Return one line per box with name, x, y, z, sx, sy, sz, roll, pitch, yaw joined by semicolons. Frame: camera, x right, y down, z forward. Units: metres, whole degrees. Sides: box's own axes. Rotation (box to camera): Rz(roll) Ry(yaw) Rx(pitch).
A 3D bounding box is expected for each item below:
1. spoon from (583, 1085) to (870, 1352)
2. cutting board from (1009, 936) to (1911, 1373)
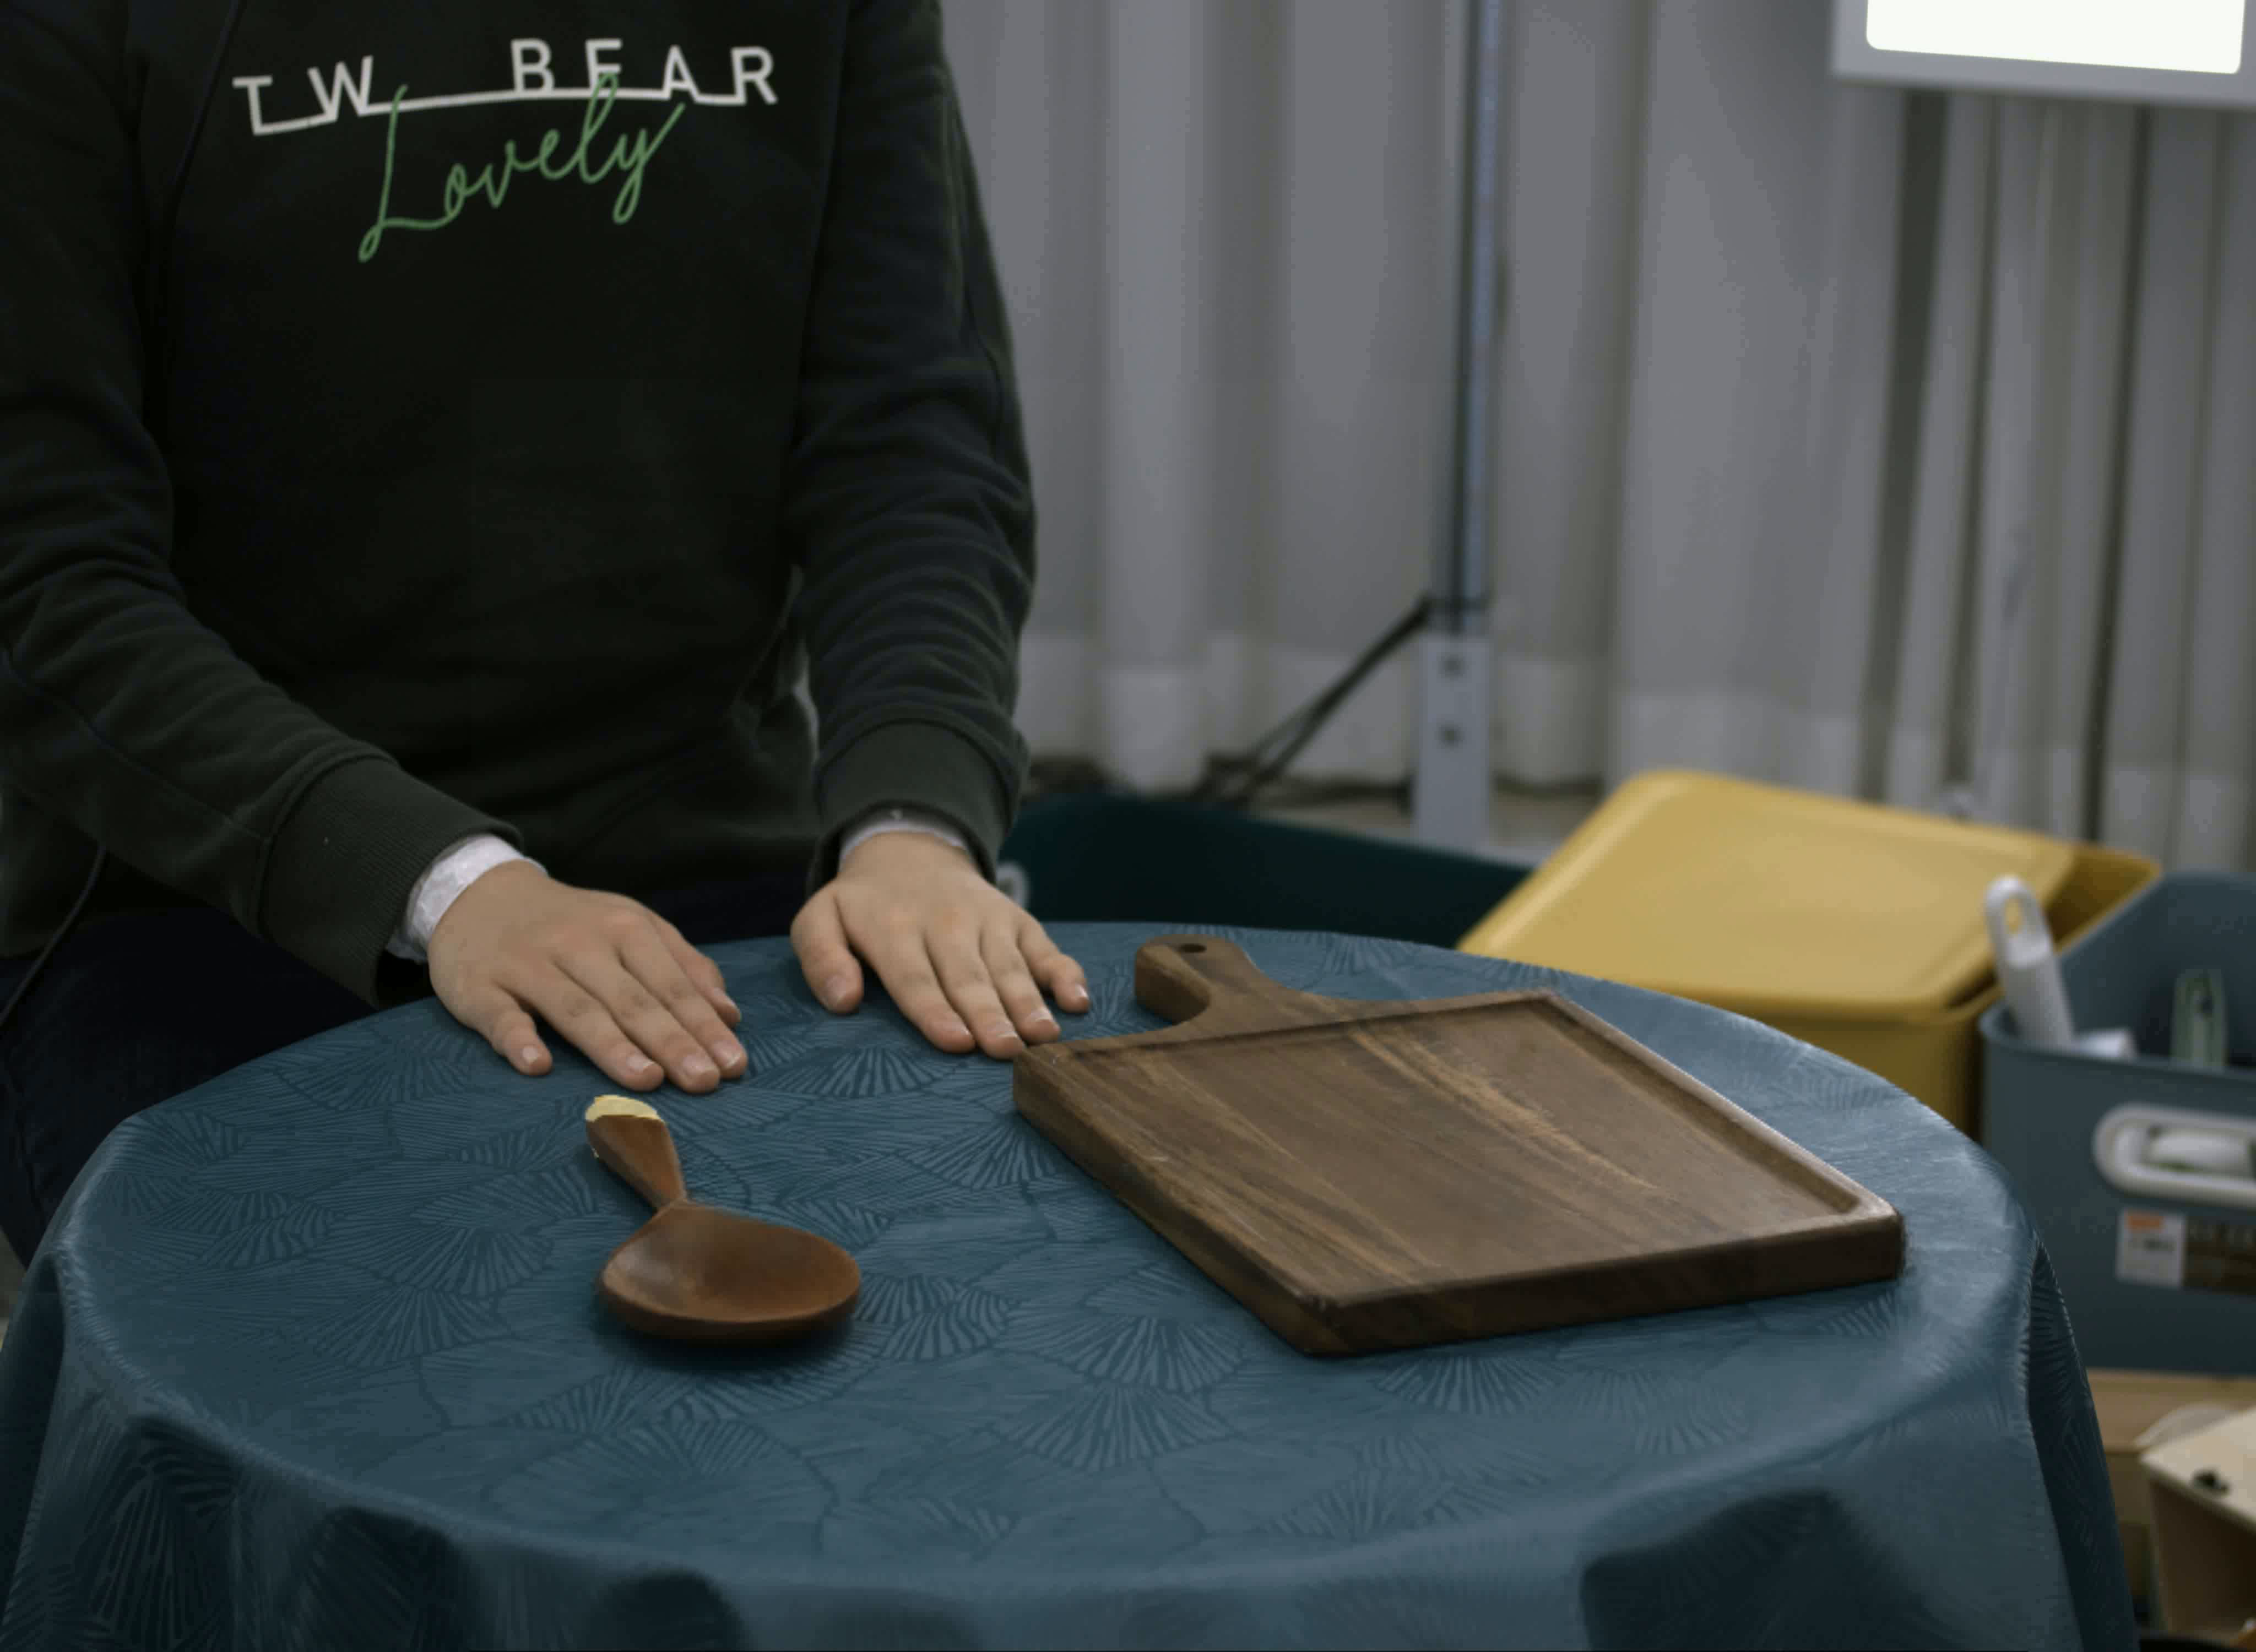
spoon;-0.131;0.118;1.571;0.075;0.017;0.213;-6;18;-16
cutting board;0.079;0.092;1.672;0.201;0.023;0.348;-7;17;-21
